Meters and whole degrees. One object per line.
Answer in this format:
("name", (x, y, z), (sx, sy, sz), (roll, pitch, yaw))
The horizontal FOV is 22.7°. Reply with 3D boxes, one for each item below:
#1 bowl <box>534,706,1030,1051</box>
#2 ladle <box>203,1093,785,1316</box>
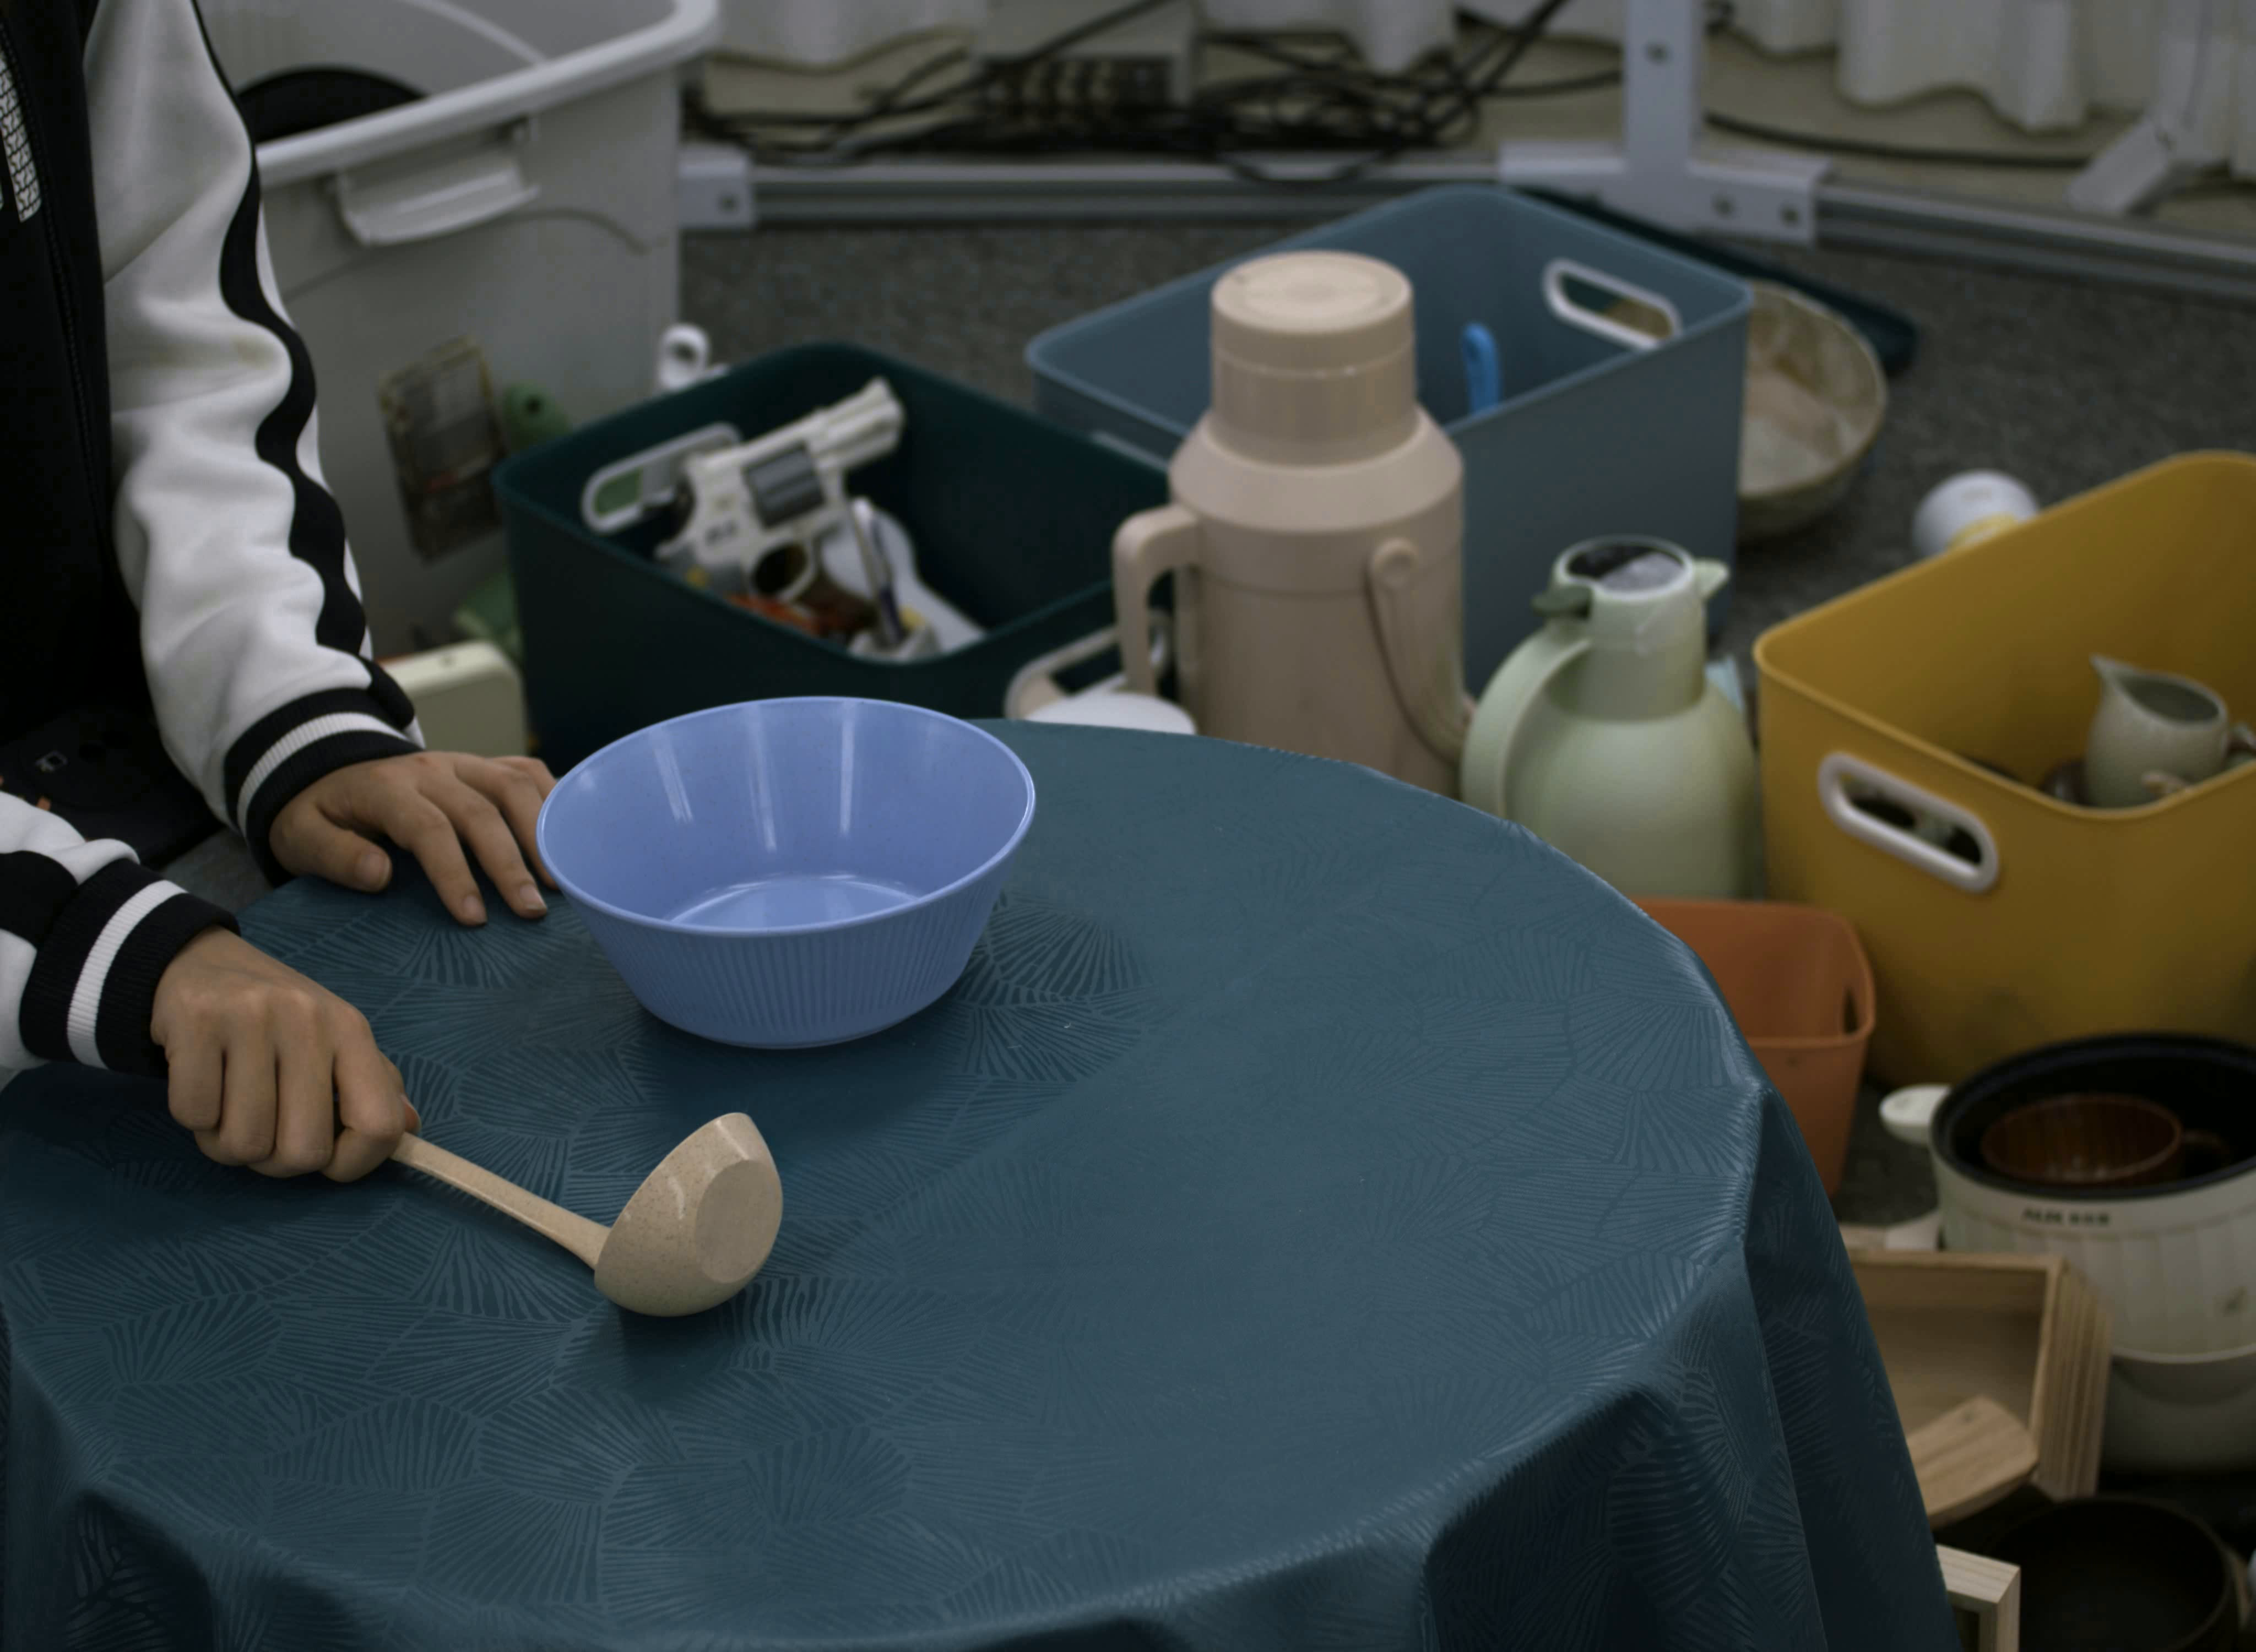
("bowl", (-0.120, 0.024, 1.987), (0.175, 0.069, 0.179), (-2, 27, 1))
("ladle", (-0.221, 0.098, 1.851), (0.253, 0.072, 0.073), (17, 37, 34))
